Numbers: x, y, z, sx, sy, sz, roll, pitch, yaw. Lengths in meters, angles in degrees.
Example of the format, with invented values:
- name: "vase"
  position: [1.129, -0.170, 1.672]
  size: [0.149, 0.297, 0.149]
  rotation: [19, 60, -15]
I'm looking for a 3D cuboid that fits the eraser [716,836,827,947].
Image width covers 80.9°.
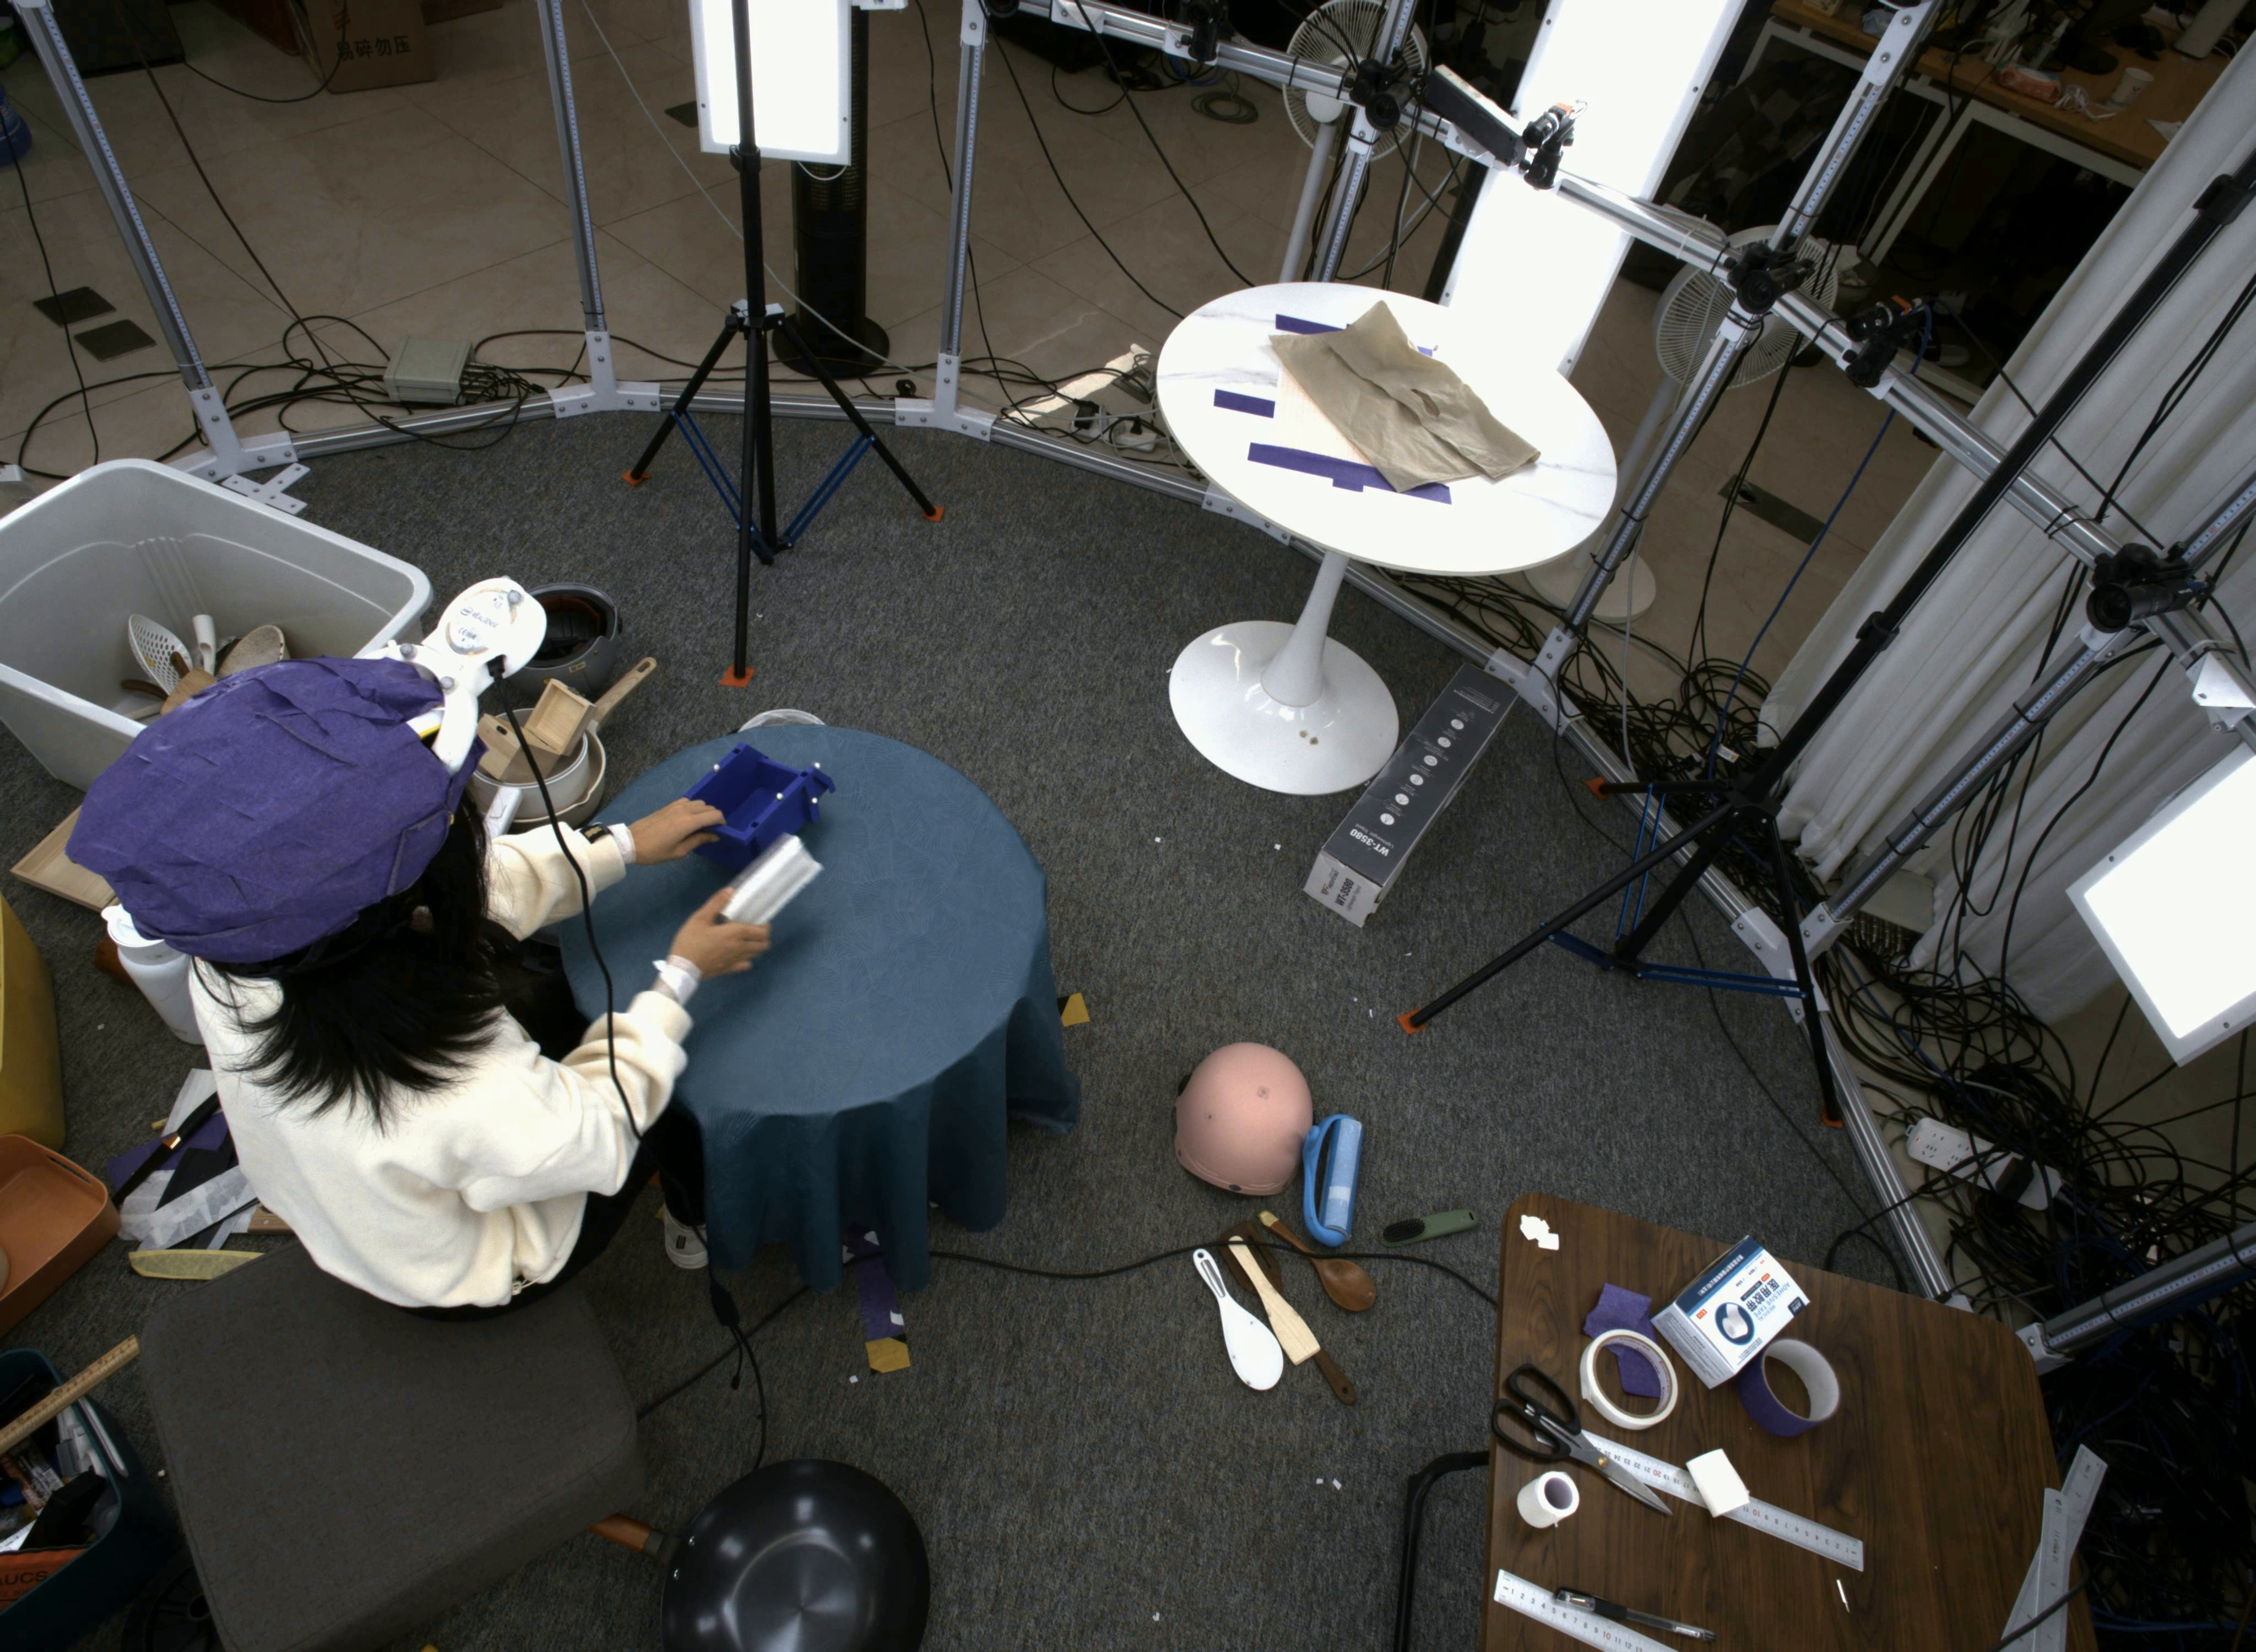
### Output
- name: "eraser"
  position: [-0.427, 0.074, 1.548]
  size: [0.045, 0.052, 0.134]
  rotation: [17, 55, 35]

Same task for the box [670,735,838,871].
- name: "box"
  position: [-0.476, -0.036, 1.654]
  size: [0.121, 0.084, 0.178]
  rotation: [20, 48, 17]
